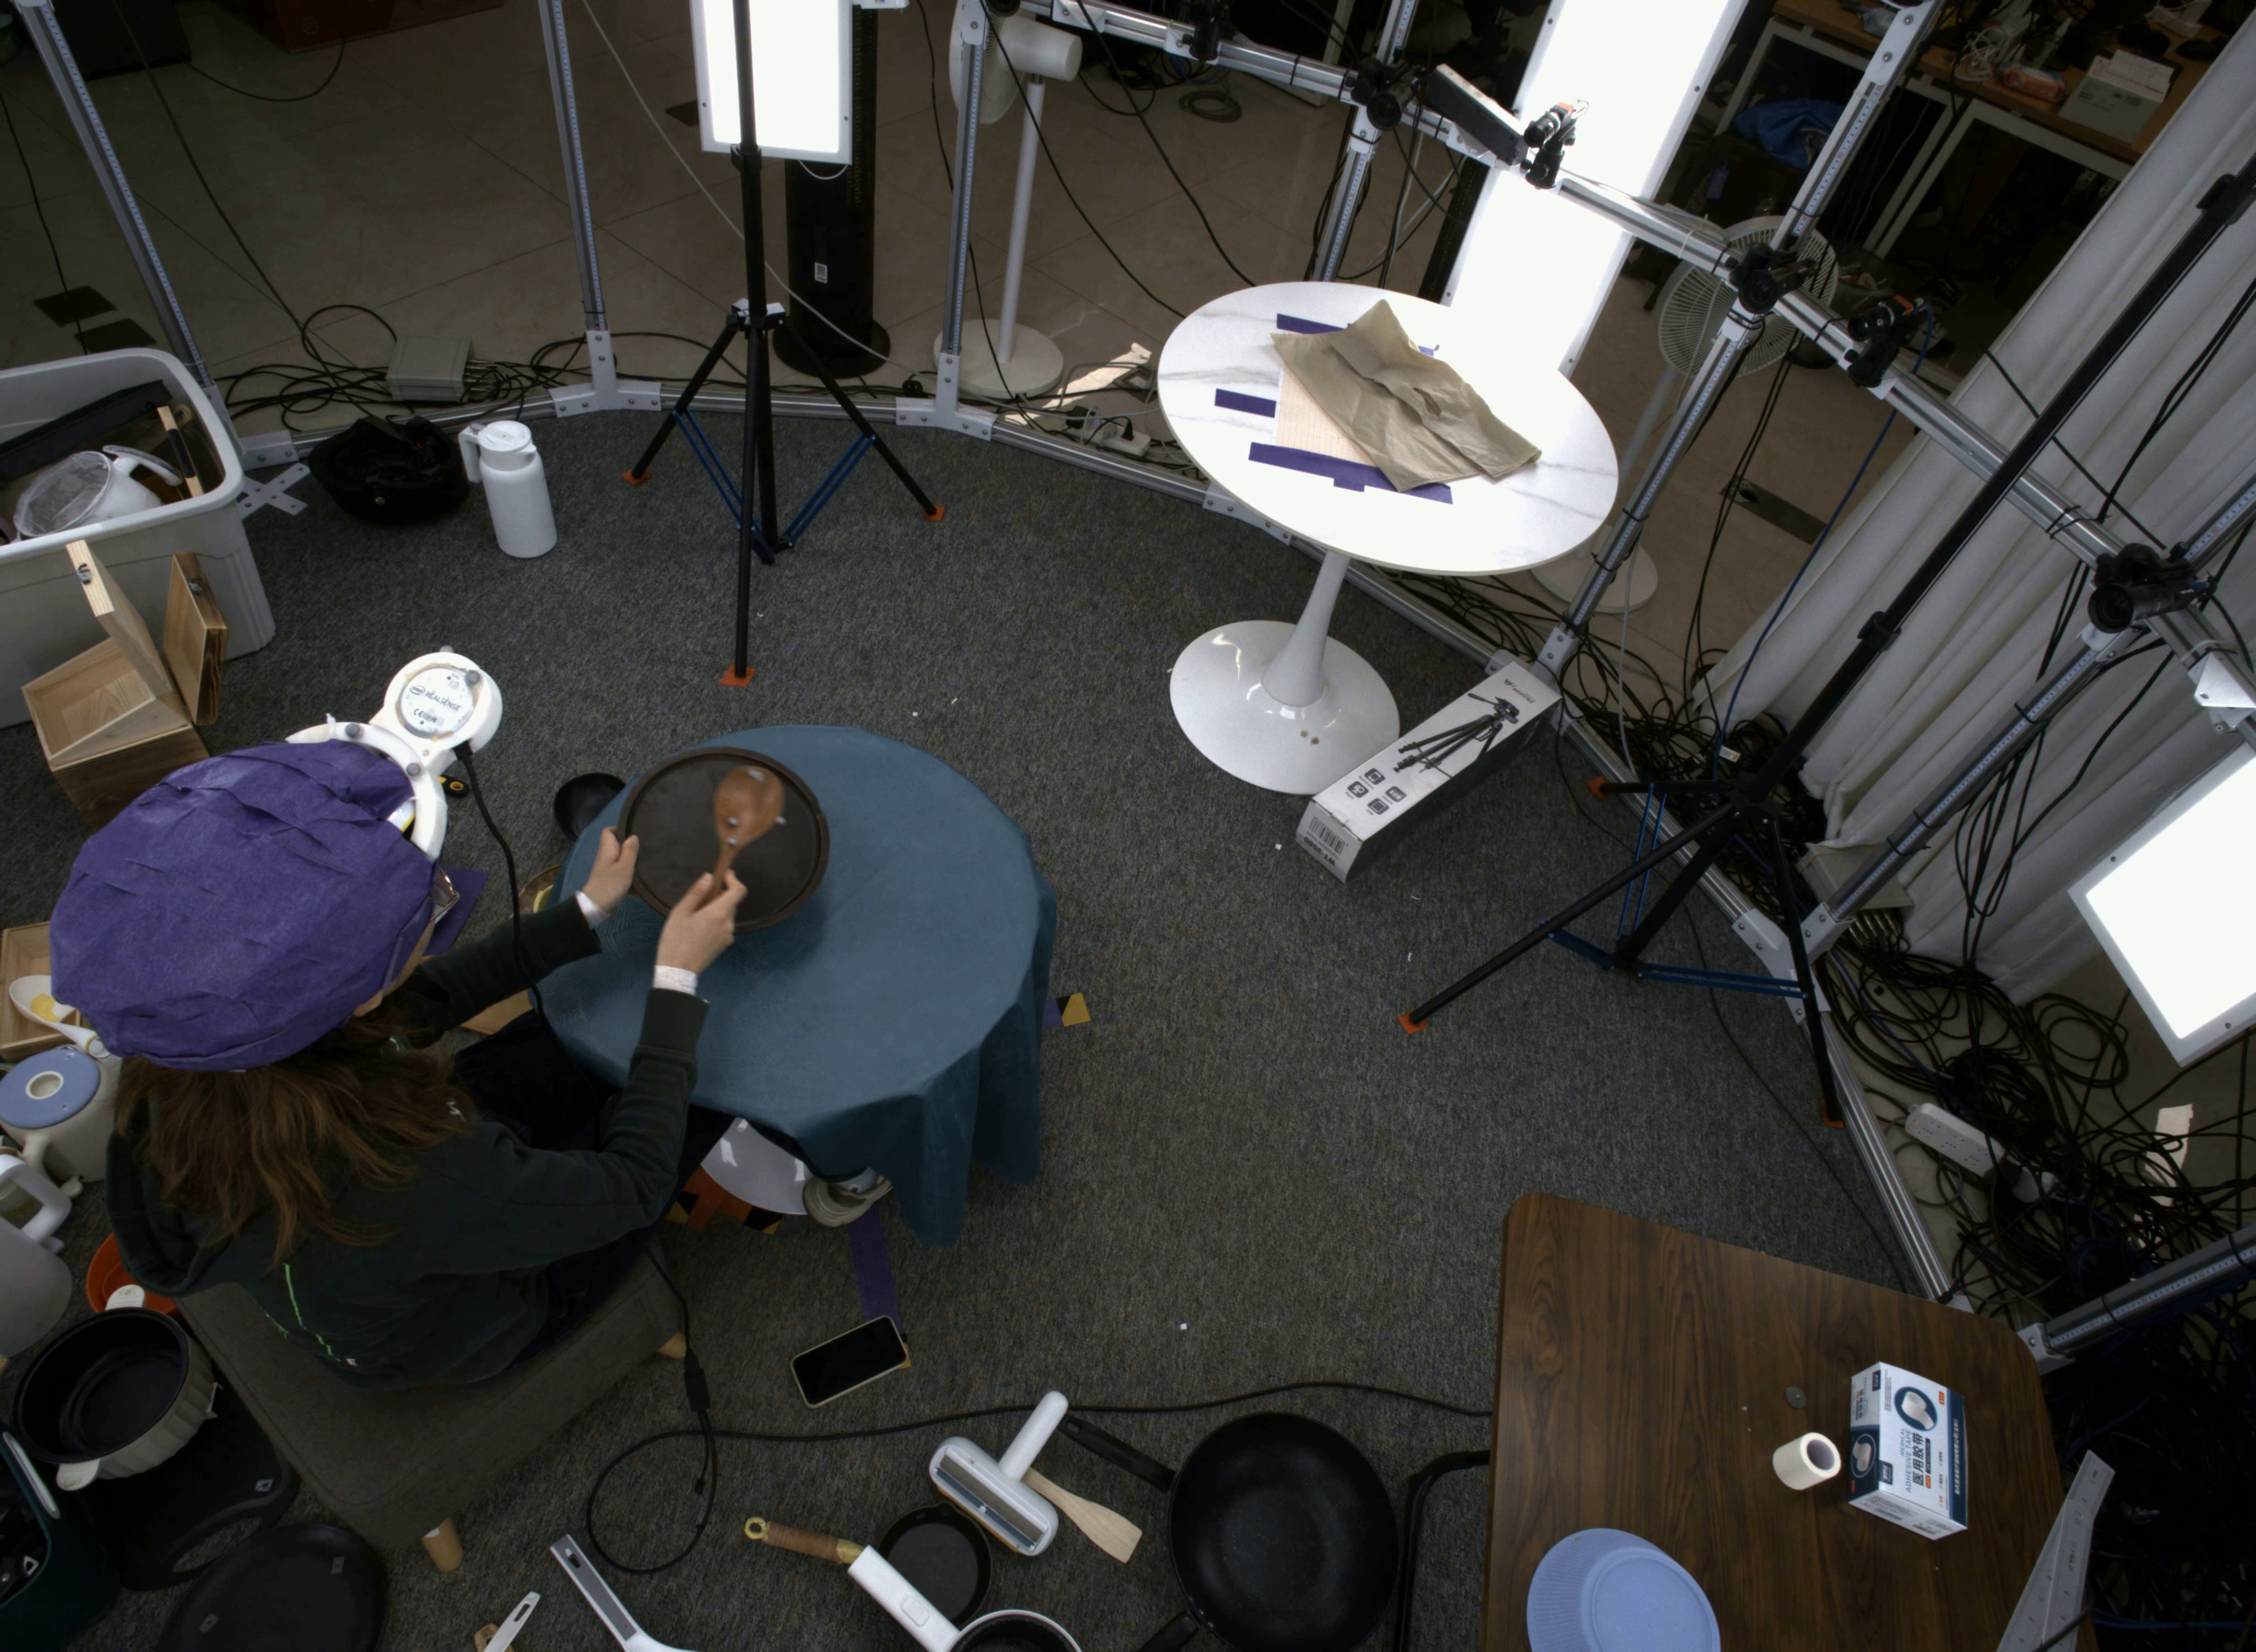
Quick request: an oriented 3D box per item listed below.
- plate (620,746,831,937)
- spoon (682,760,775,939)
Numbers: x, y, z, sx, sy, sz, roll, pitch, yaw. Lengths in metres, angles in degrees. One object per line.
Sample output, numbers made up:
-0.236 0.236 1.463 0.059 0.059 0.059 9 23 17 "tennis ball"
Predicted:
-0.490 0.016 1.573 0.257 0.029 0.251 12 60 -19 "plate"
-0.455 0.024 1.447 0.076 0.017 0.214 19 66 -14 "spoon"
